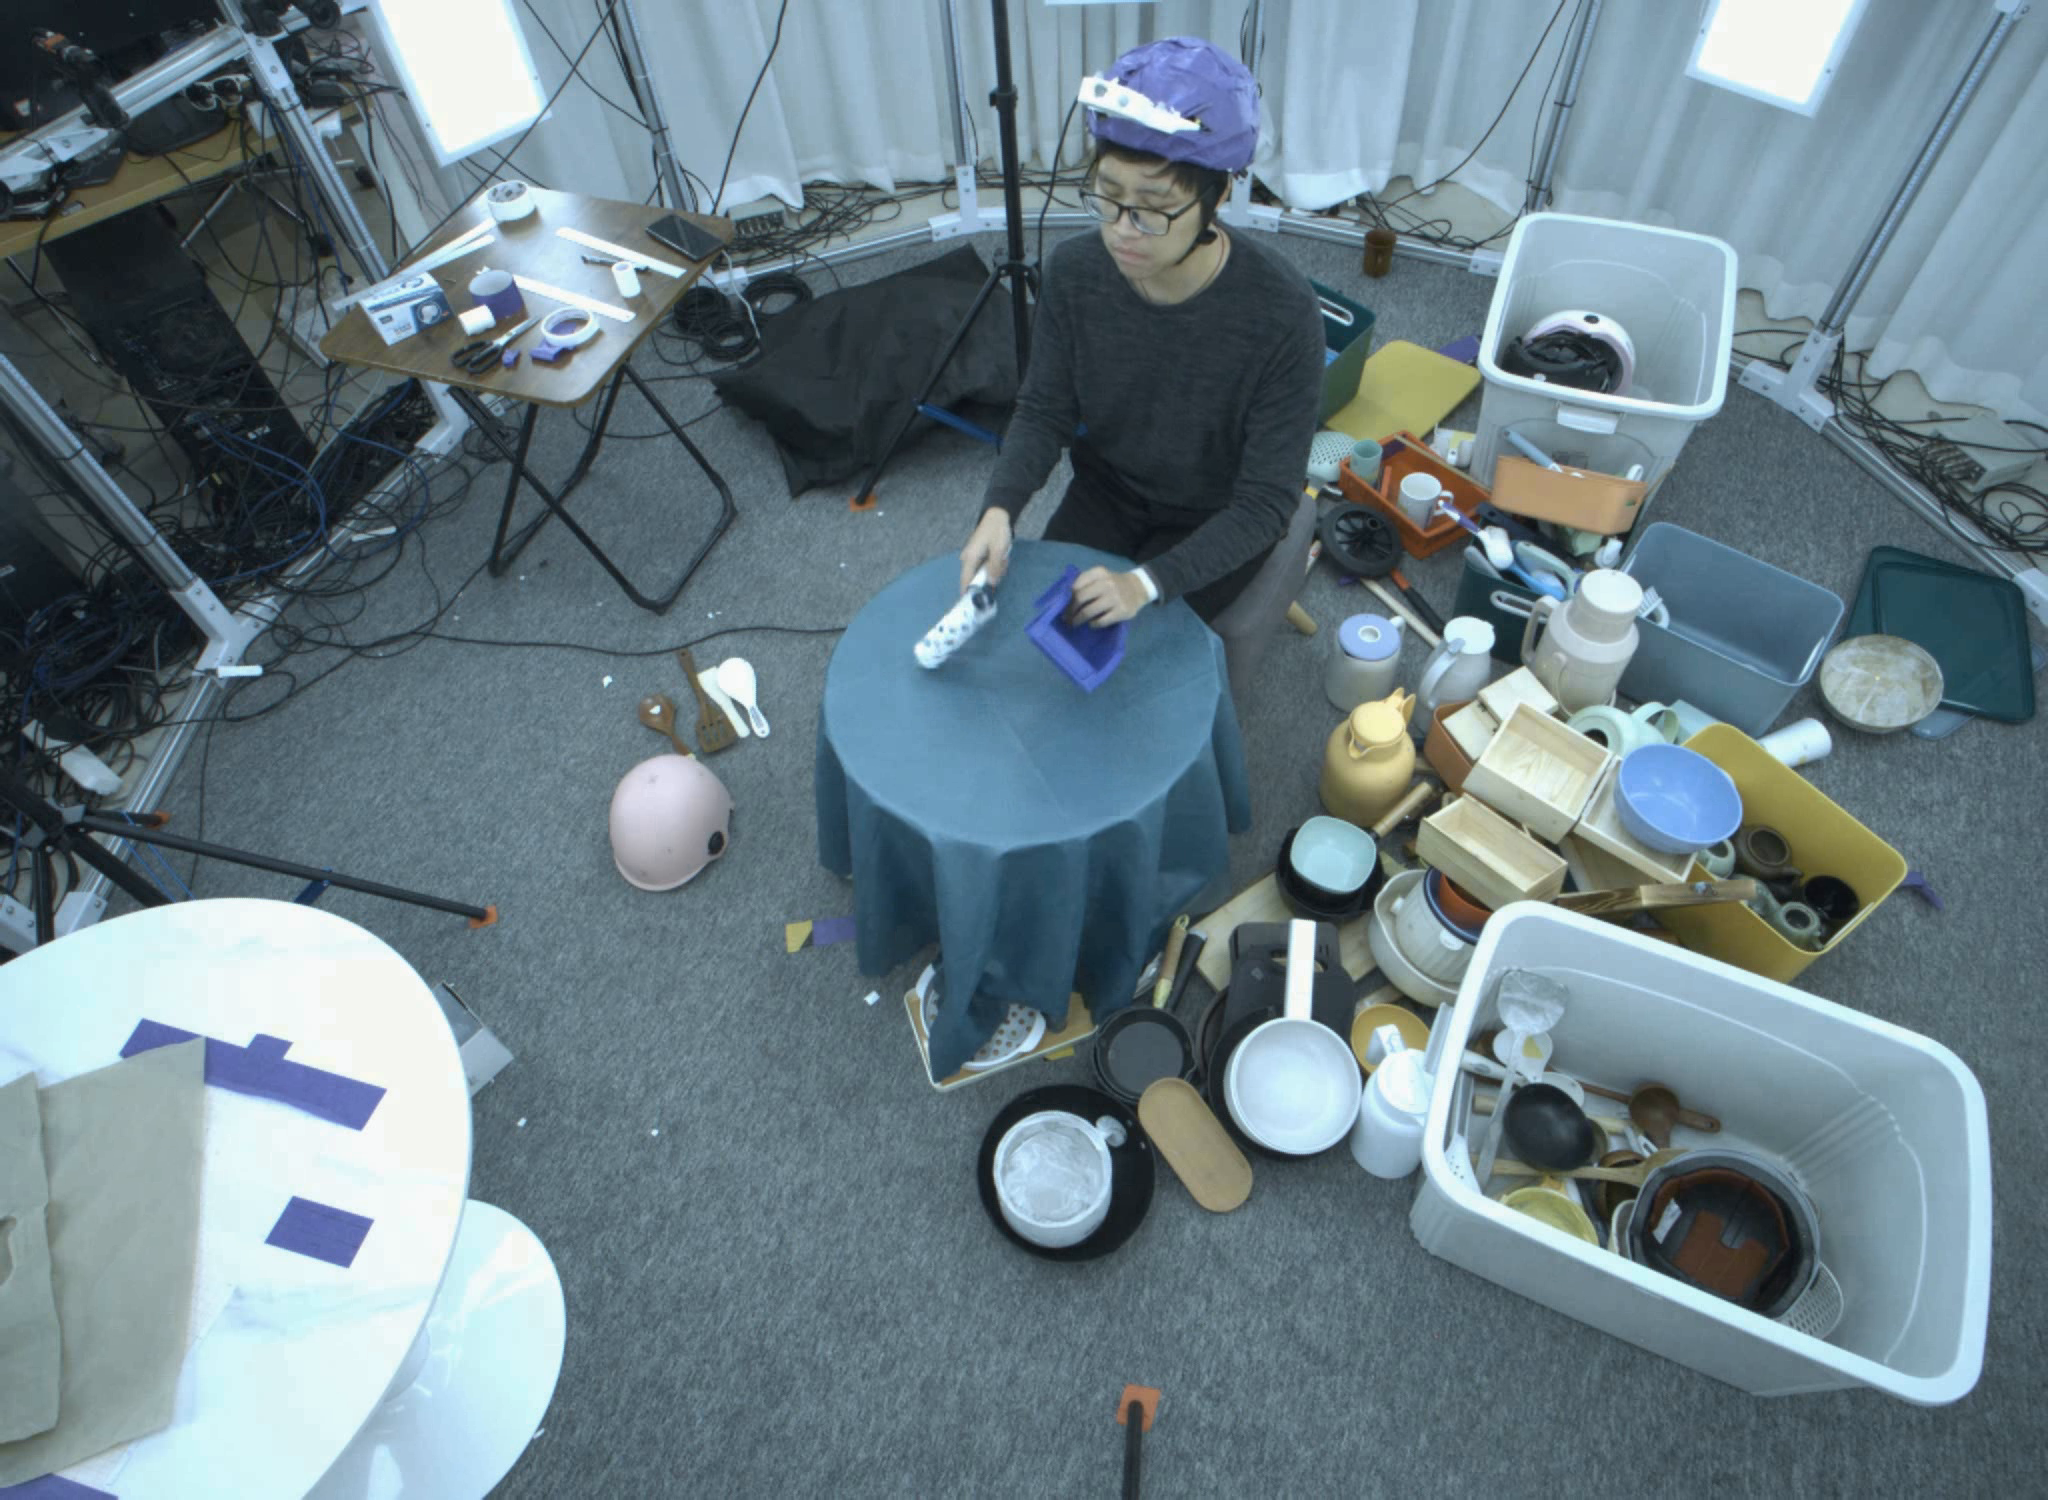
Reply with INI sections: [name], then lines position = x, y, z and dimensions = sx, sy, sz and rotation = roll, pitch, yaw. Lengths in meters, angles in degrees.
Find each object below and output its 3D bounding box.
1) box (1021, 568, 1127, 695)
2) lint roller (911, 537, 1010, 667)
[box]
position = 0.072, -0.161, 1.711
dimensions = 0.126, 0.081, 0.178
rotation = 45, 20, -13
[lint roller]
position = -0.078, -0.247, 1.876
dimensions = 0.051, 0.174, 0.246
rotation = 38, 49, -21
